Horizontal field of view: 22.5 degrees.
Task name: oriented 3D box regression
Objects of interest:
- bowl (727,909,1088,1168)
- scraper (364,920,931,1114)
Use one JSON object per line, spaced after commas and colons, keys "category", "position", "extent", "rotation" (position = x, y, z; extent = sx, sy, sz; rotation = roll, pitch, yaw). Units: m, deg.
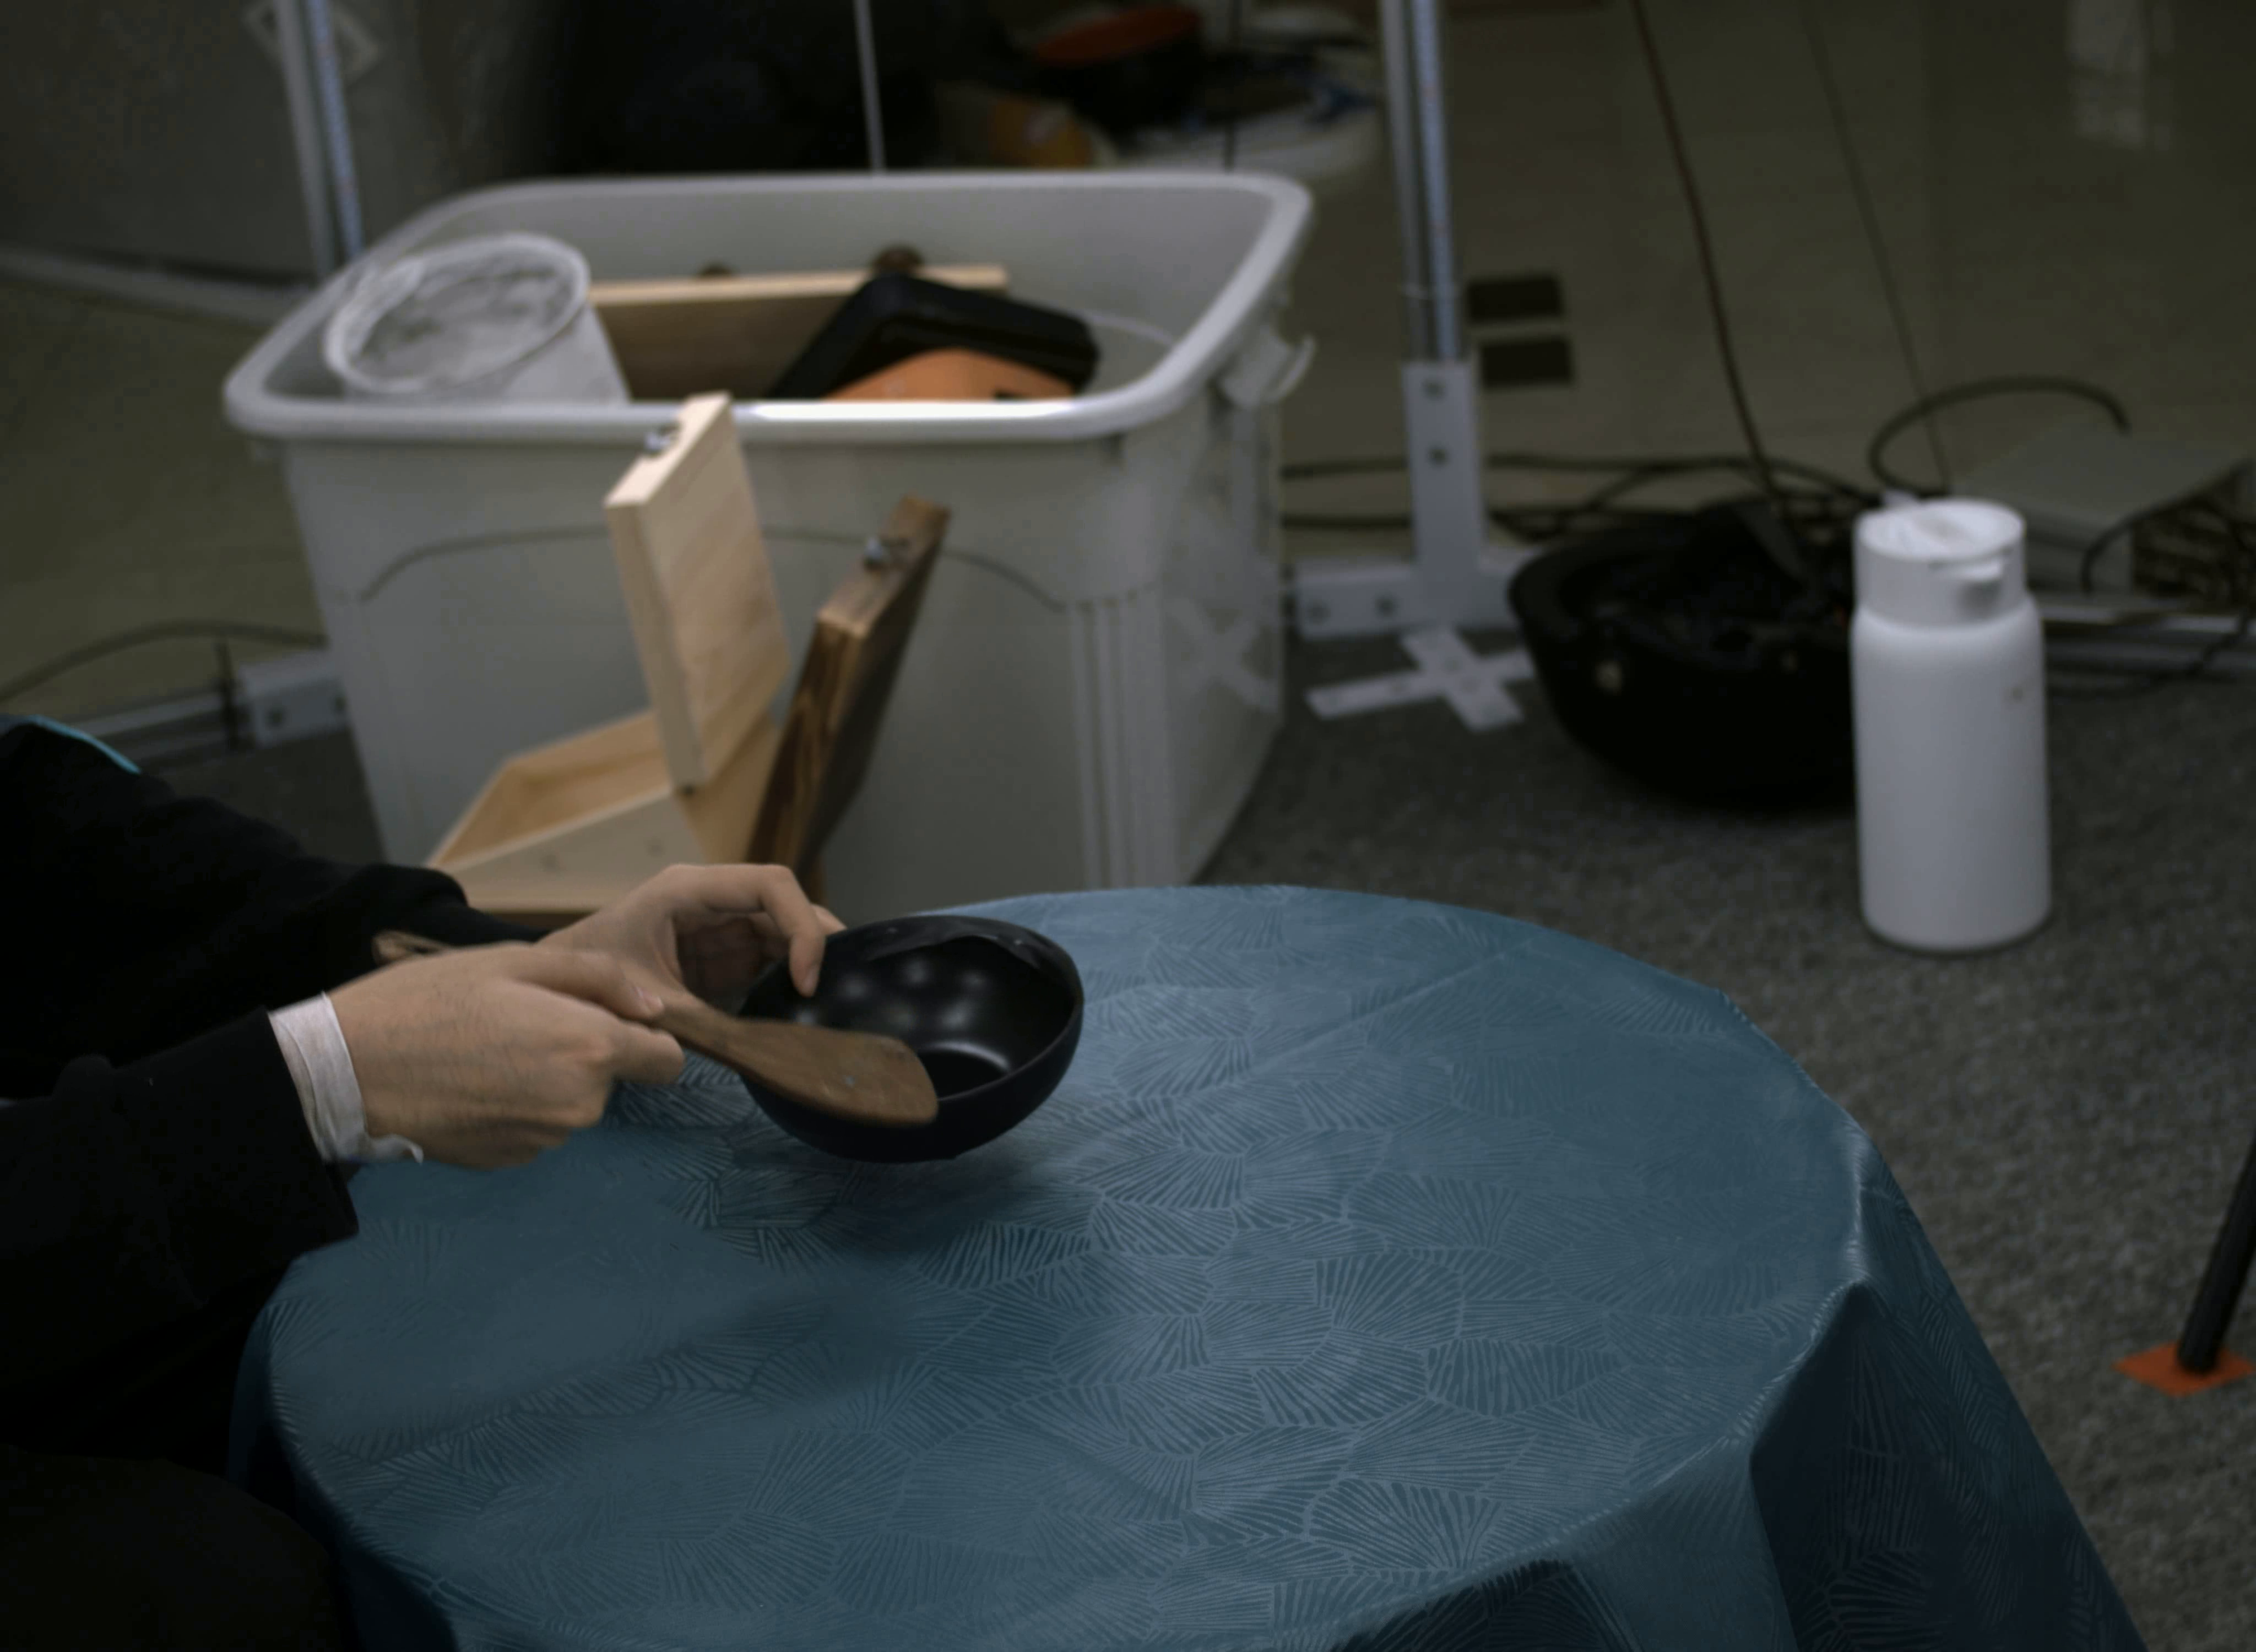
{"category": "bowl", "position": [-0.083, 0.090, 2.184], "extent": [0.140, 0.051, 0.137], "rotation": [-6, 34, 4]}
{"category": "scraper", "position": [-0.172, 0.066, 2.029], "extent": [0.212, 0.011, 0.075], "rotation": [16, 17, -18]}
